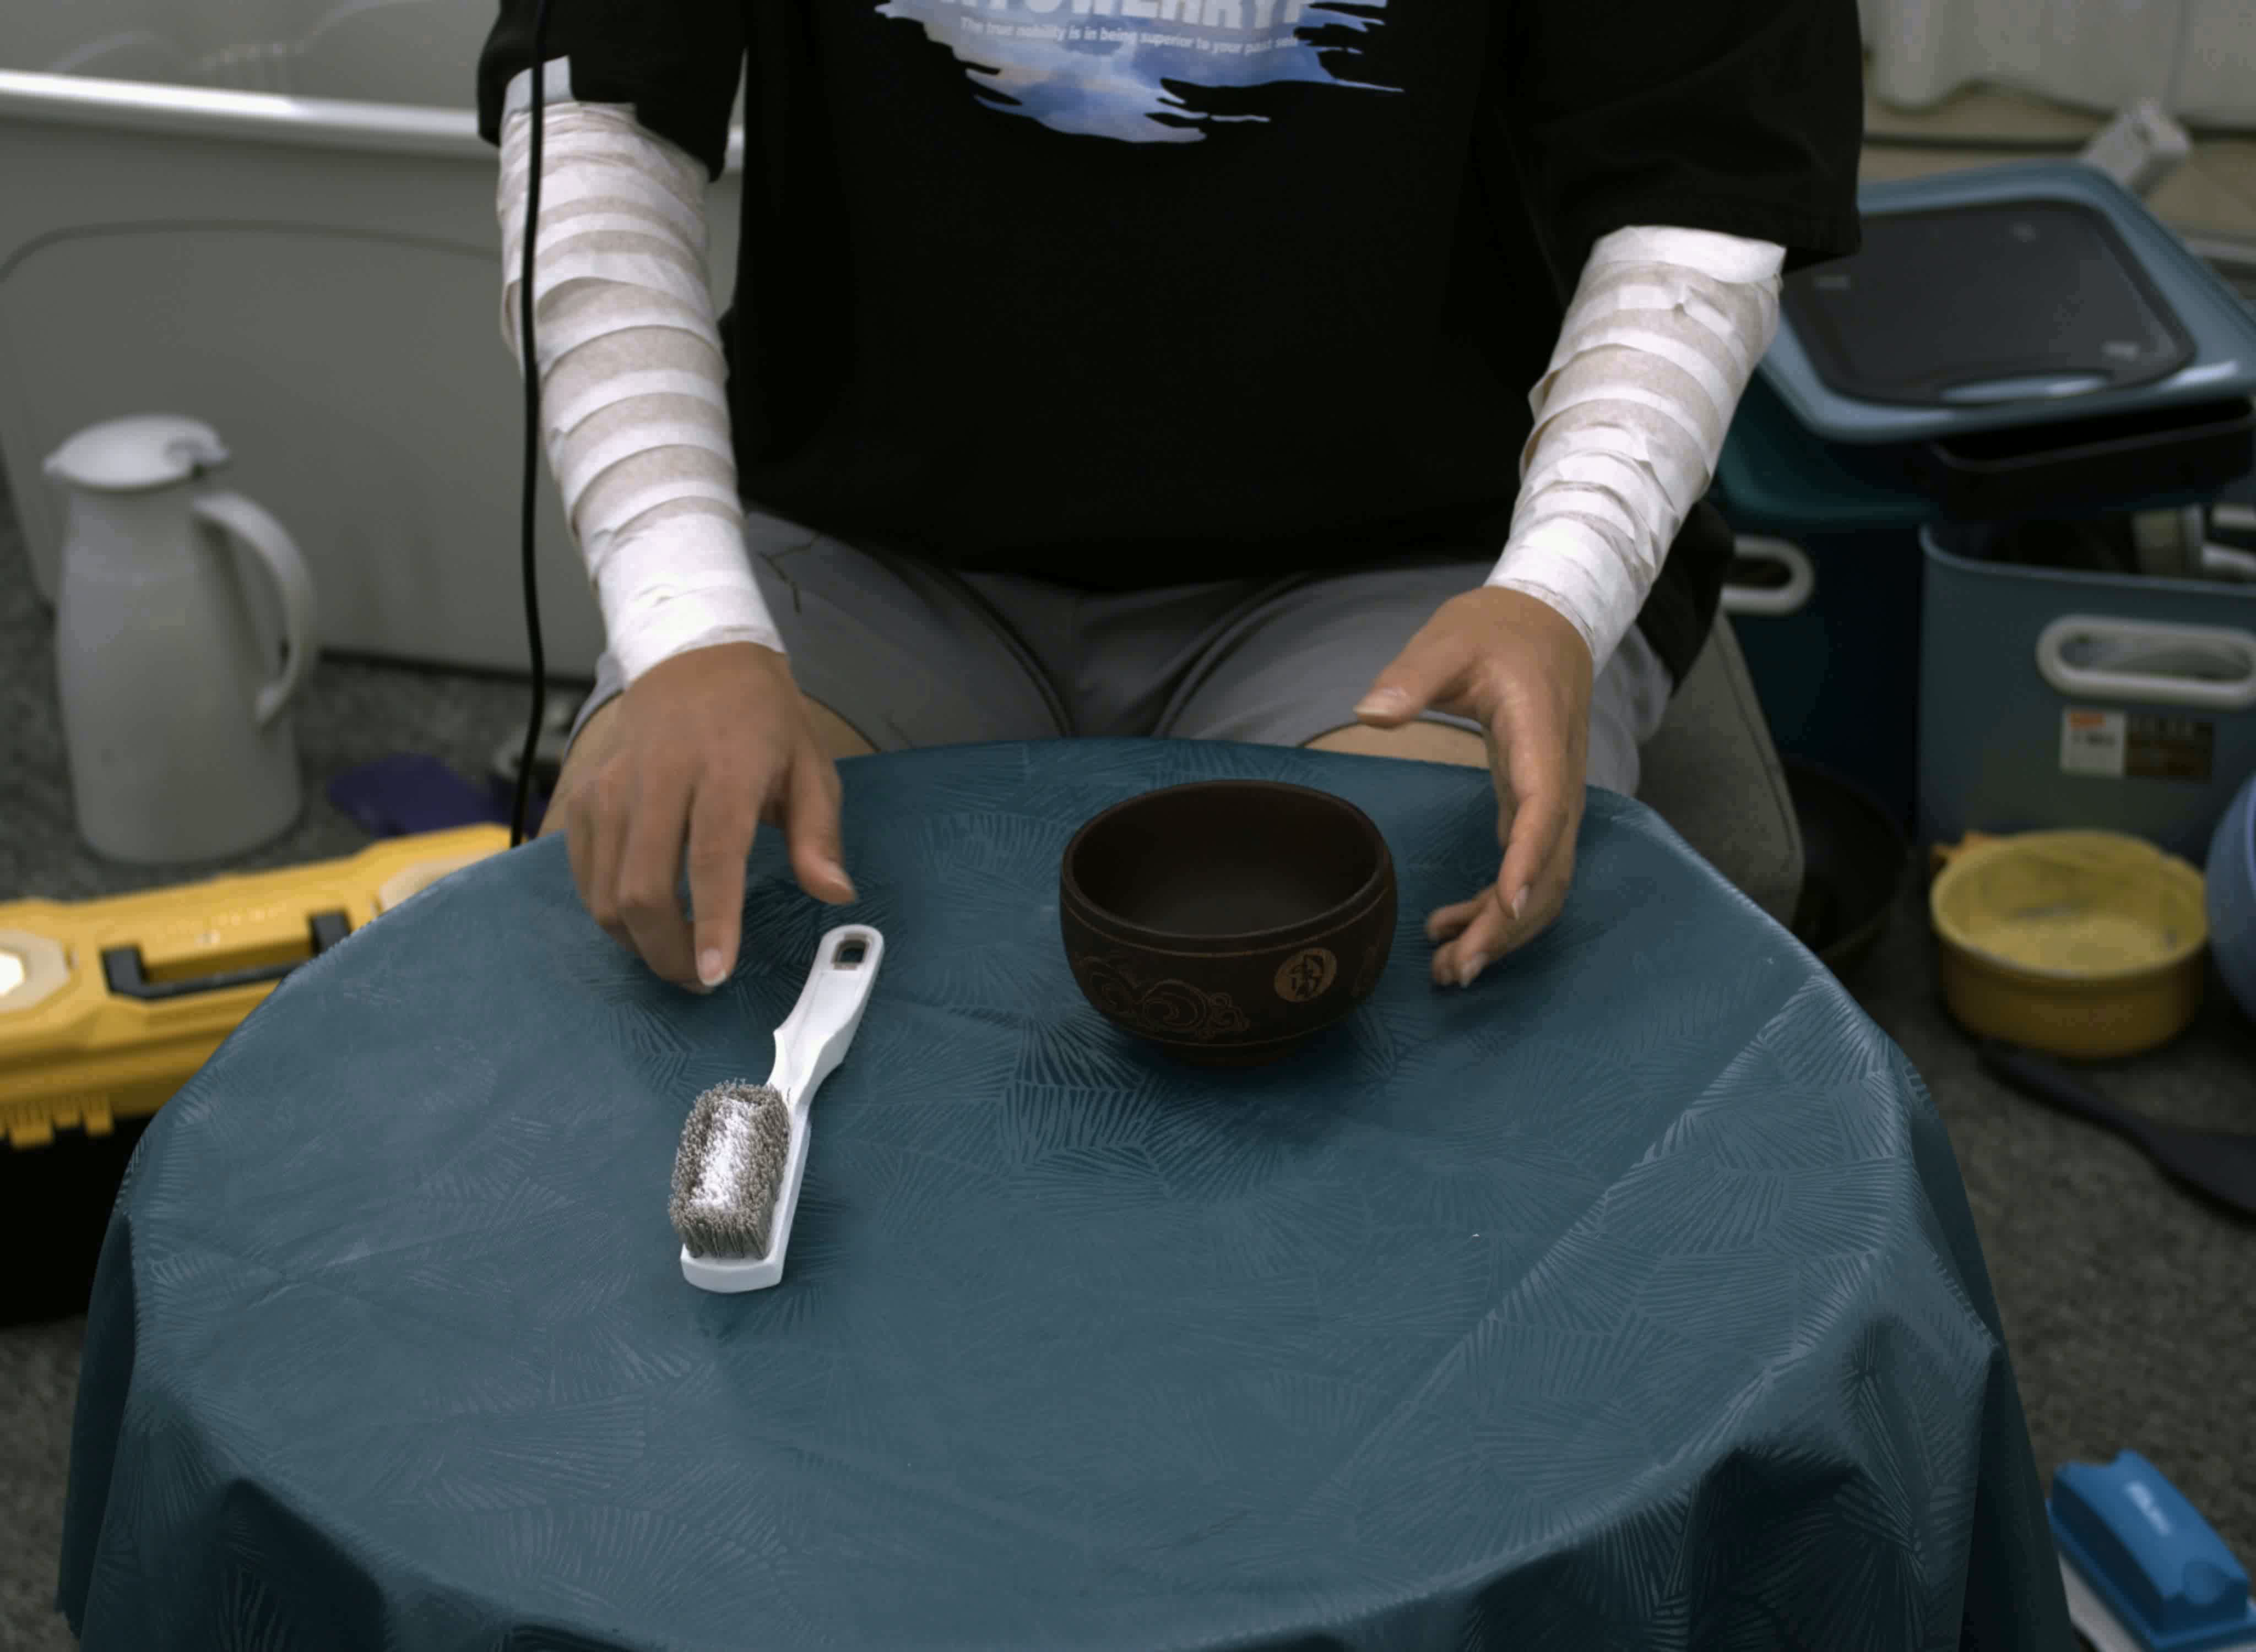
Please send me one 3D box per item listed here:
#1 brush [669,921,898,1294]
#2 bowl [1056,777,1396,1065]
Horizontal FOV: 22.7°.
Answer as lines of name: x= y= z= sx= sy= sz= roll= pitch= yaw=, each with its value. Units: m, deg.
brush: x=-0.113 y=0.078 z=1.903 sx=0.034 sy=0.049 sz=0.248 roll=3 pitch=28 yaw=10
bowl: x=0.035 y=0.039 z=1.940 sx=0.117 sy=0.069 sz=0.120 roll=-3 pitch=25 yaw=2
